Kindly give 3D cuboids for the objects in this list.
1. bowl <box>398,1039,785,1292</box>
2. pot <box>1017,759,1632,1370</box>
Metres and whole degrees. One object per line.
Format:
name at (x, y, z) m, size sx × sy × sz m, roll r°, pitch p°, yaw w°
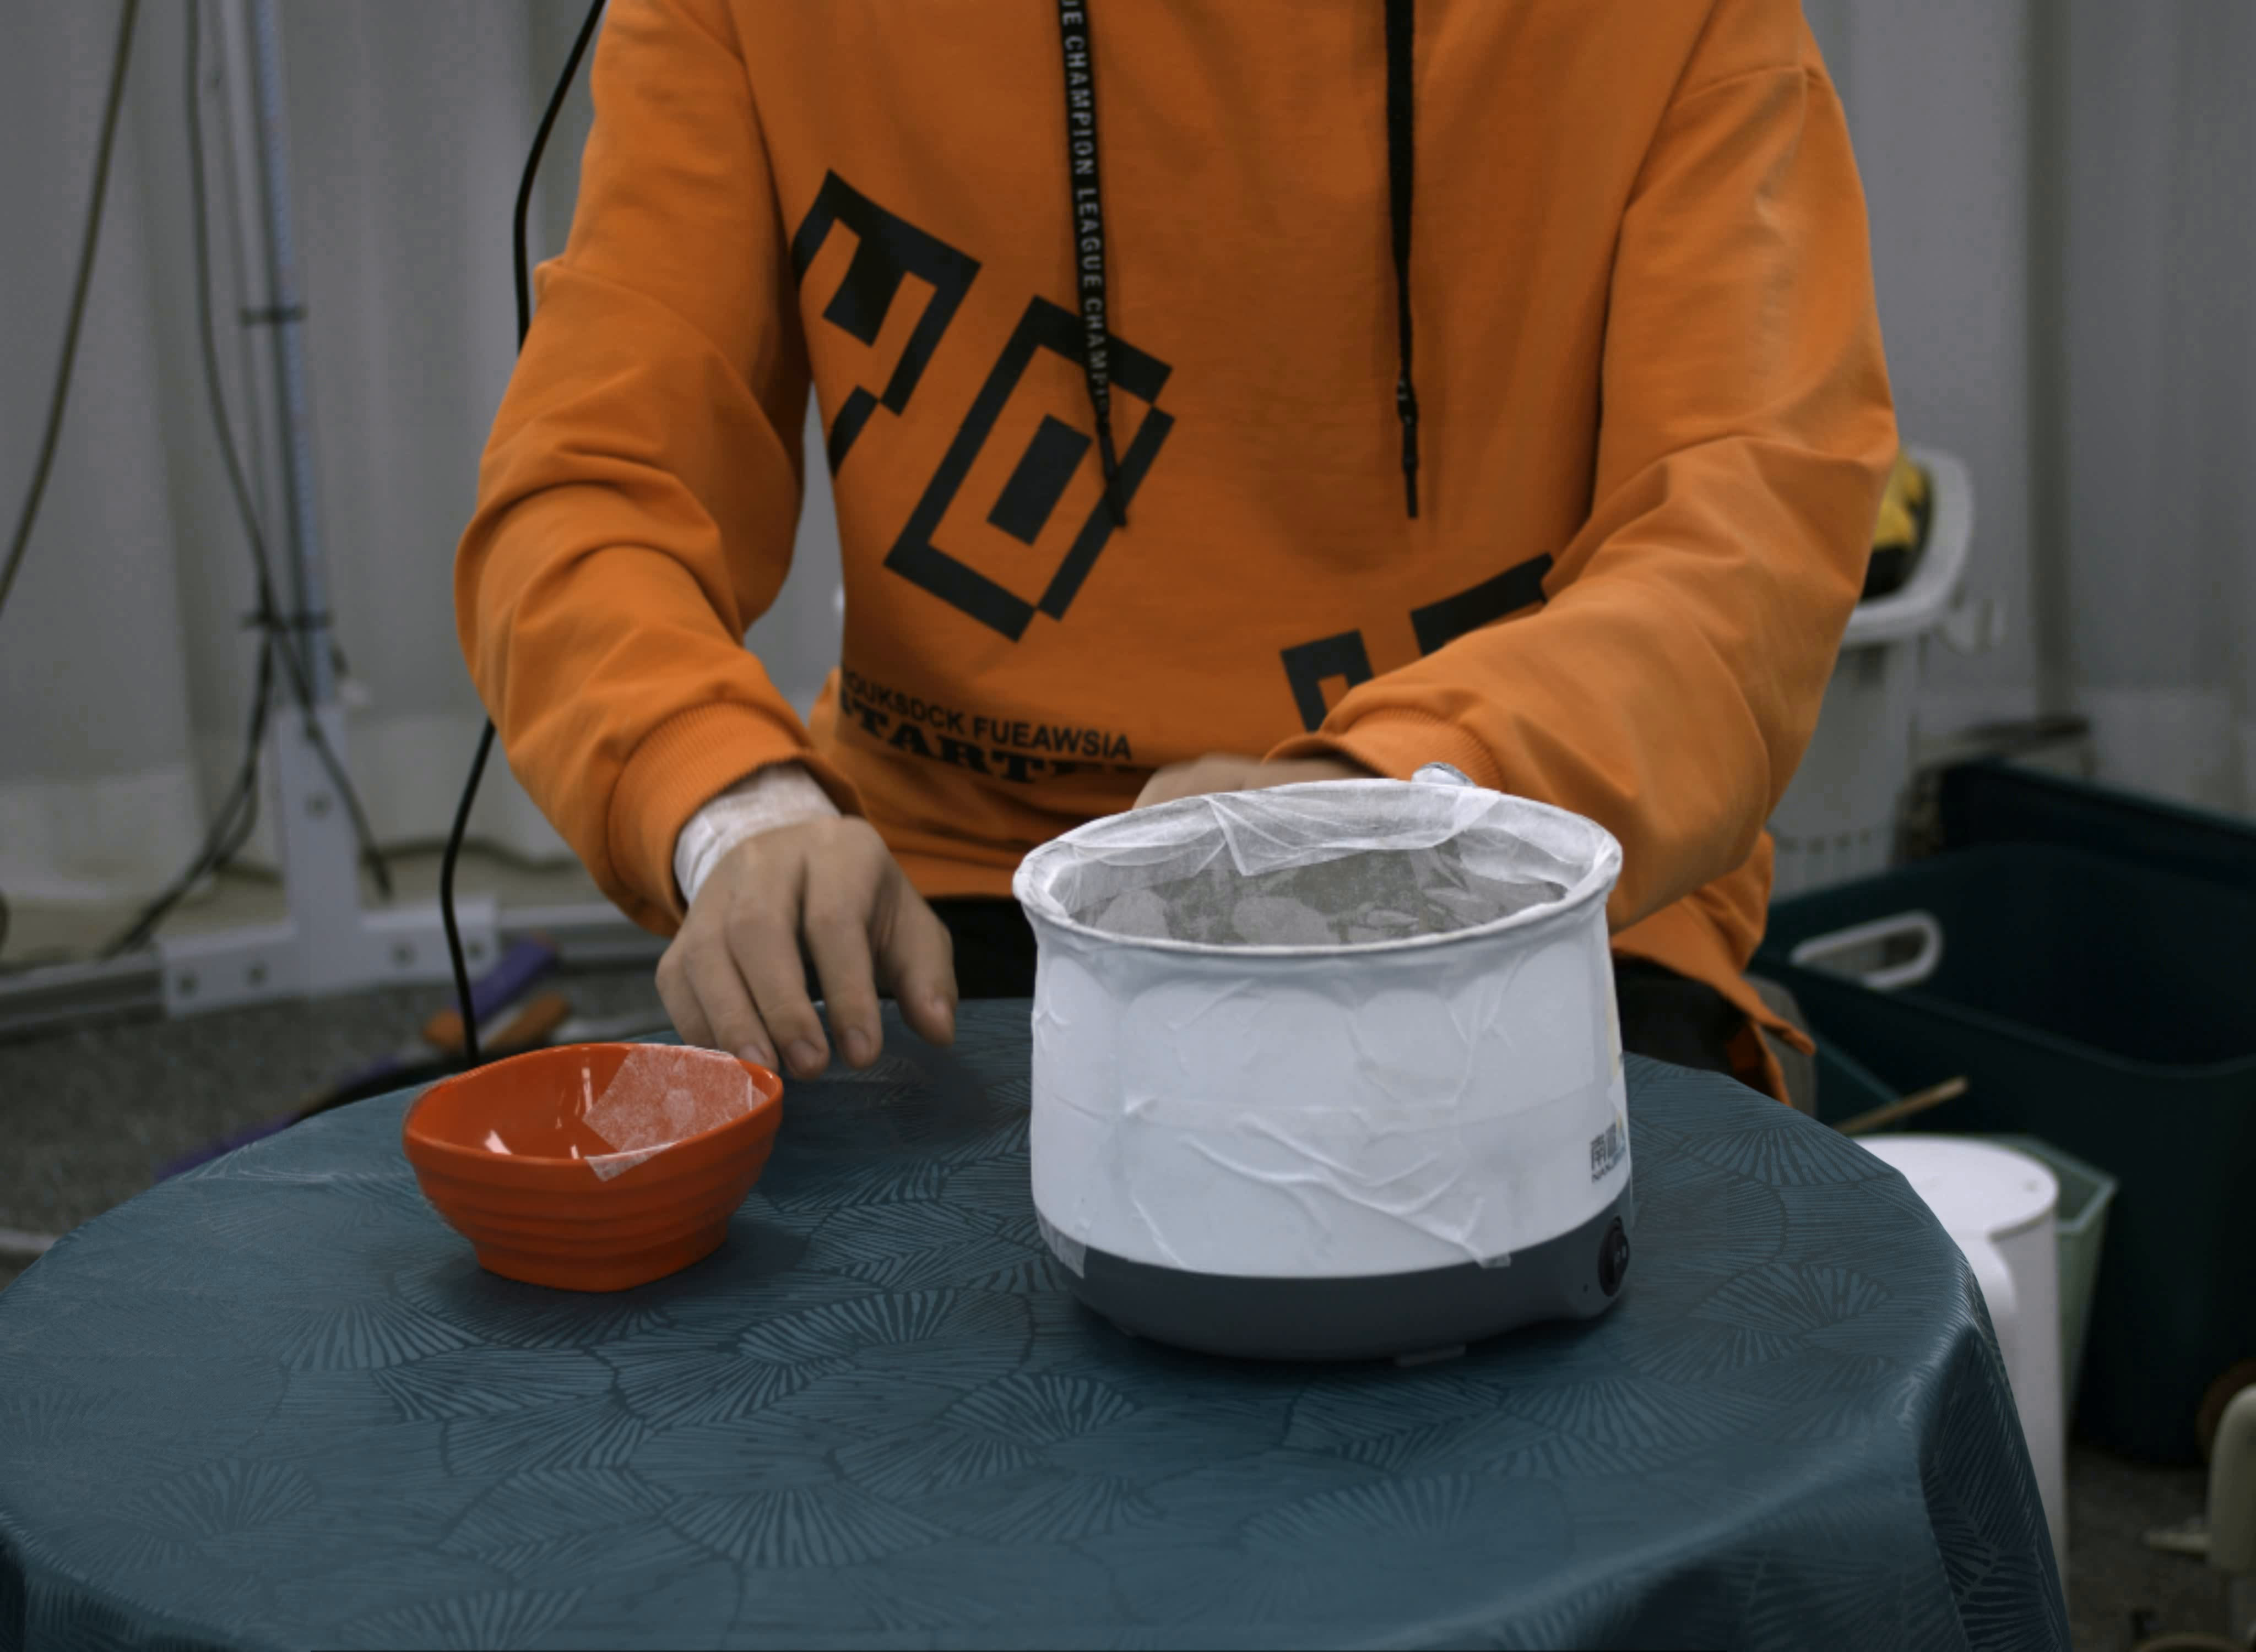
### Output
bowl at (-0.162, 0.107, 1.679) m, size 0.118 × 0.051 × 0.120 m, roll -4°, pitch 15°, yaw 1°
pot at (0.069, 0.064, 1.626) m, size 0.179 × 0.136 × 0.234 m, roll 4°, pitch 16°, yaw 22°
